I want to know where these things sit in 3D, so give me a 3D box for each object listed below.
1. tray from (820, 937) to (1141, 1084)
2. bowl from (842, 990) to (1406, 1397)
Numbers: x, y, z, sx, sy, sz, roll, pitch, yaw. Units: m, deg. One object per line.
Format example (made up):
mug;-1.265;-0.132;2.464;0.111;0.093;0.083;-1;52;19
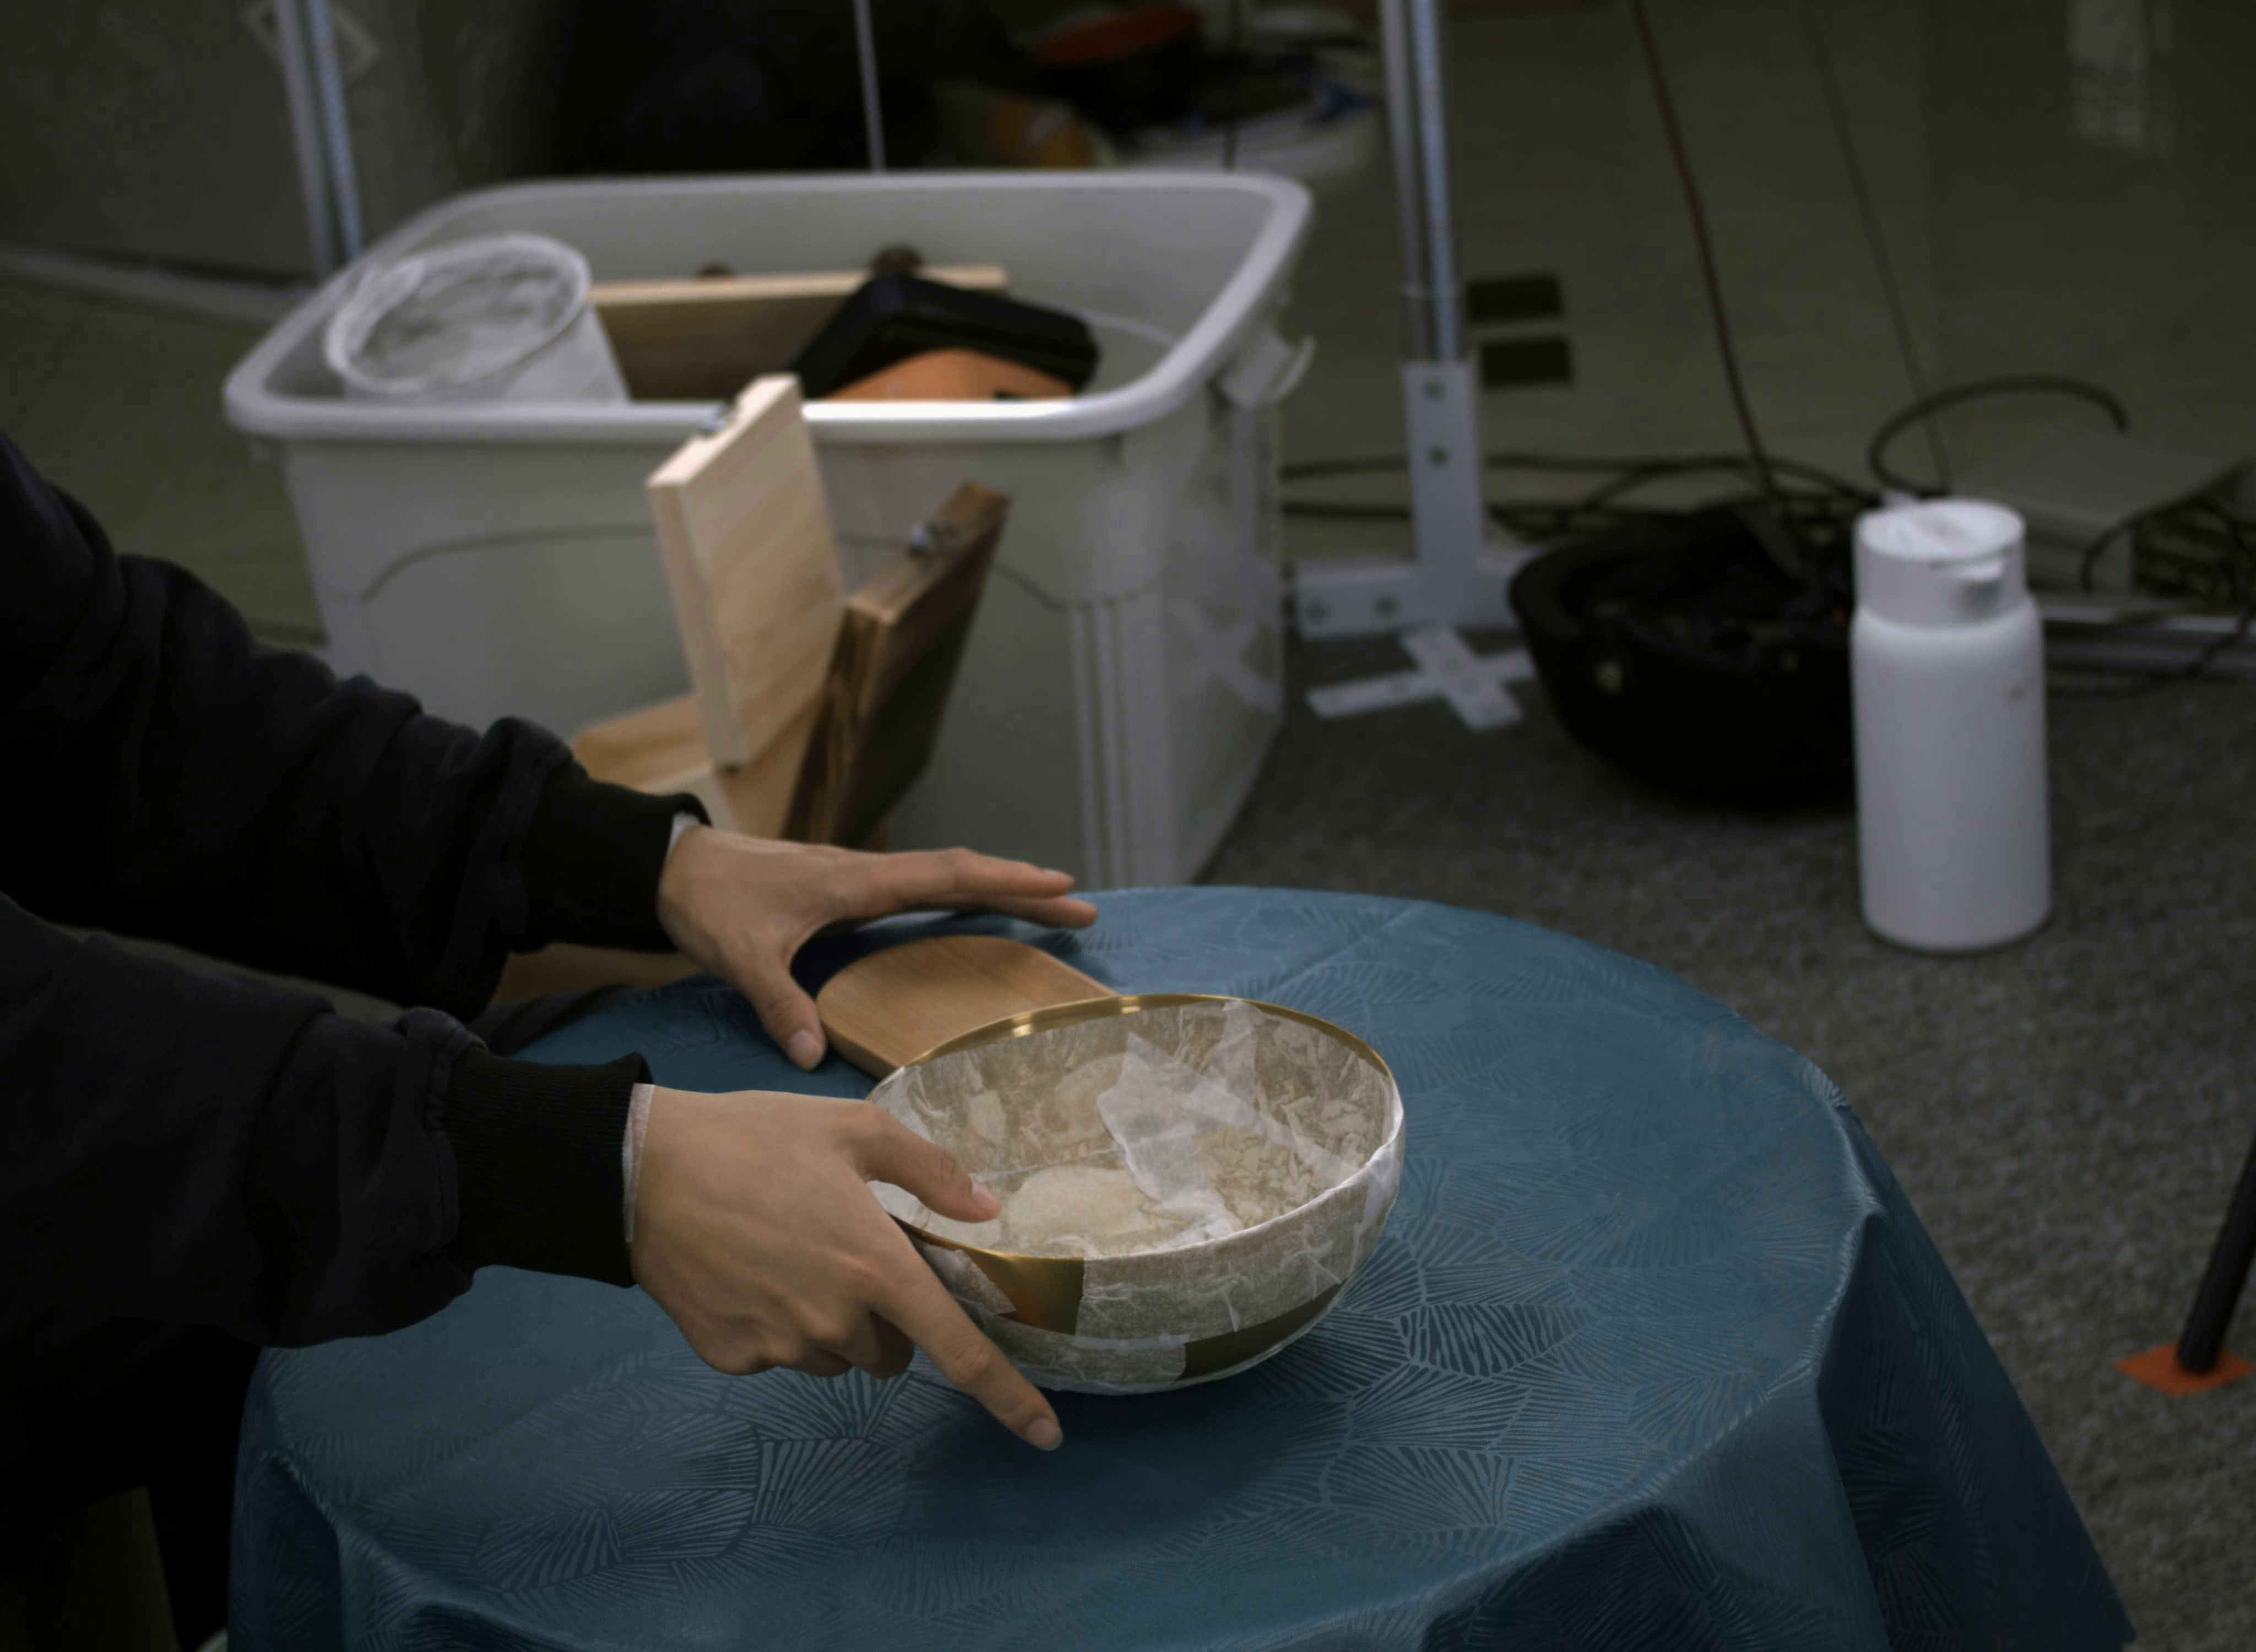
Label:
tray;-0.036;0.093;2.243;0.101;0.020;0.229;-24;32;-29
bowl;0.001;0.142;2.034;0.214;0.096;0.211;-6;26;3
